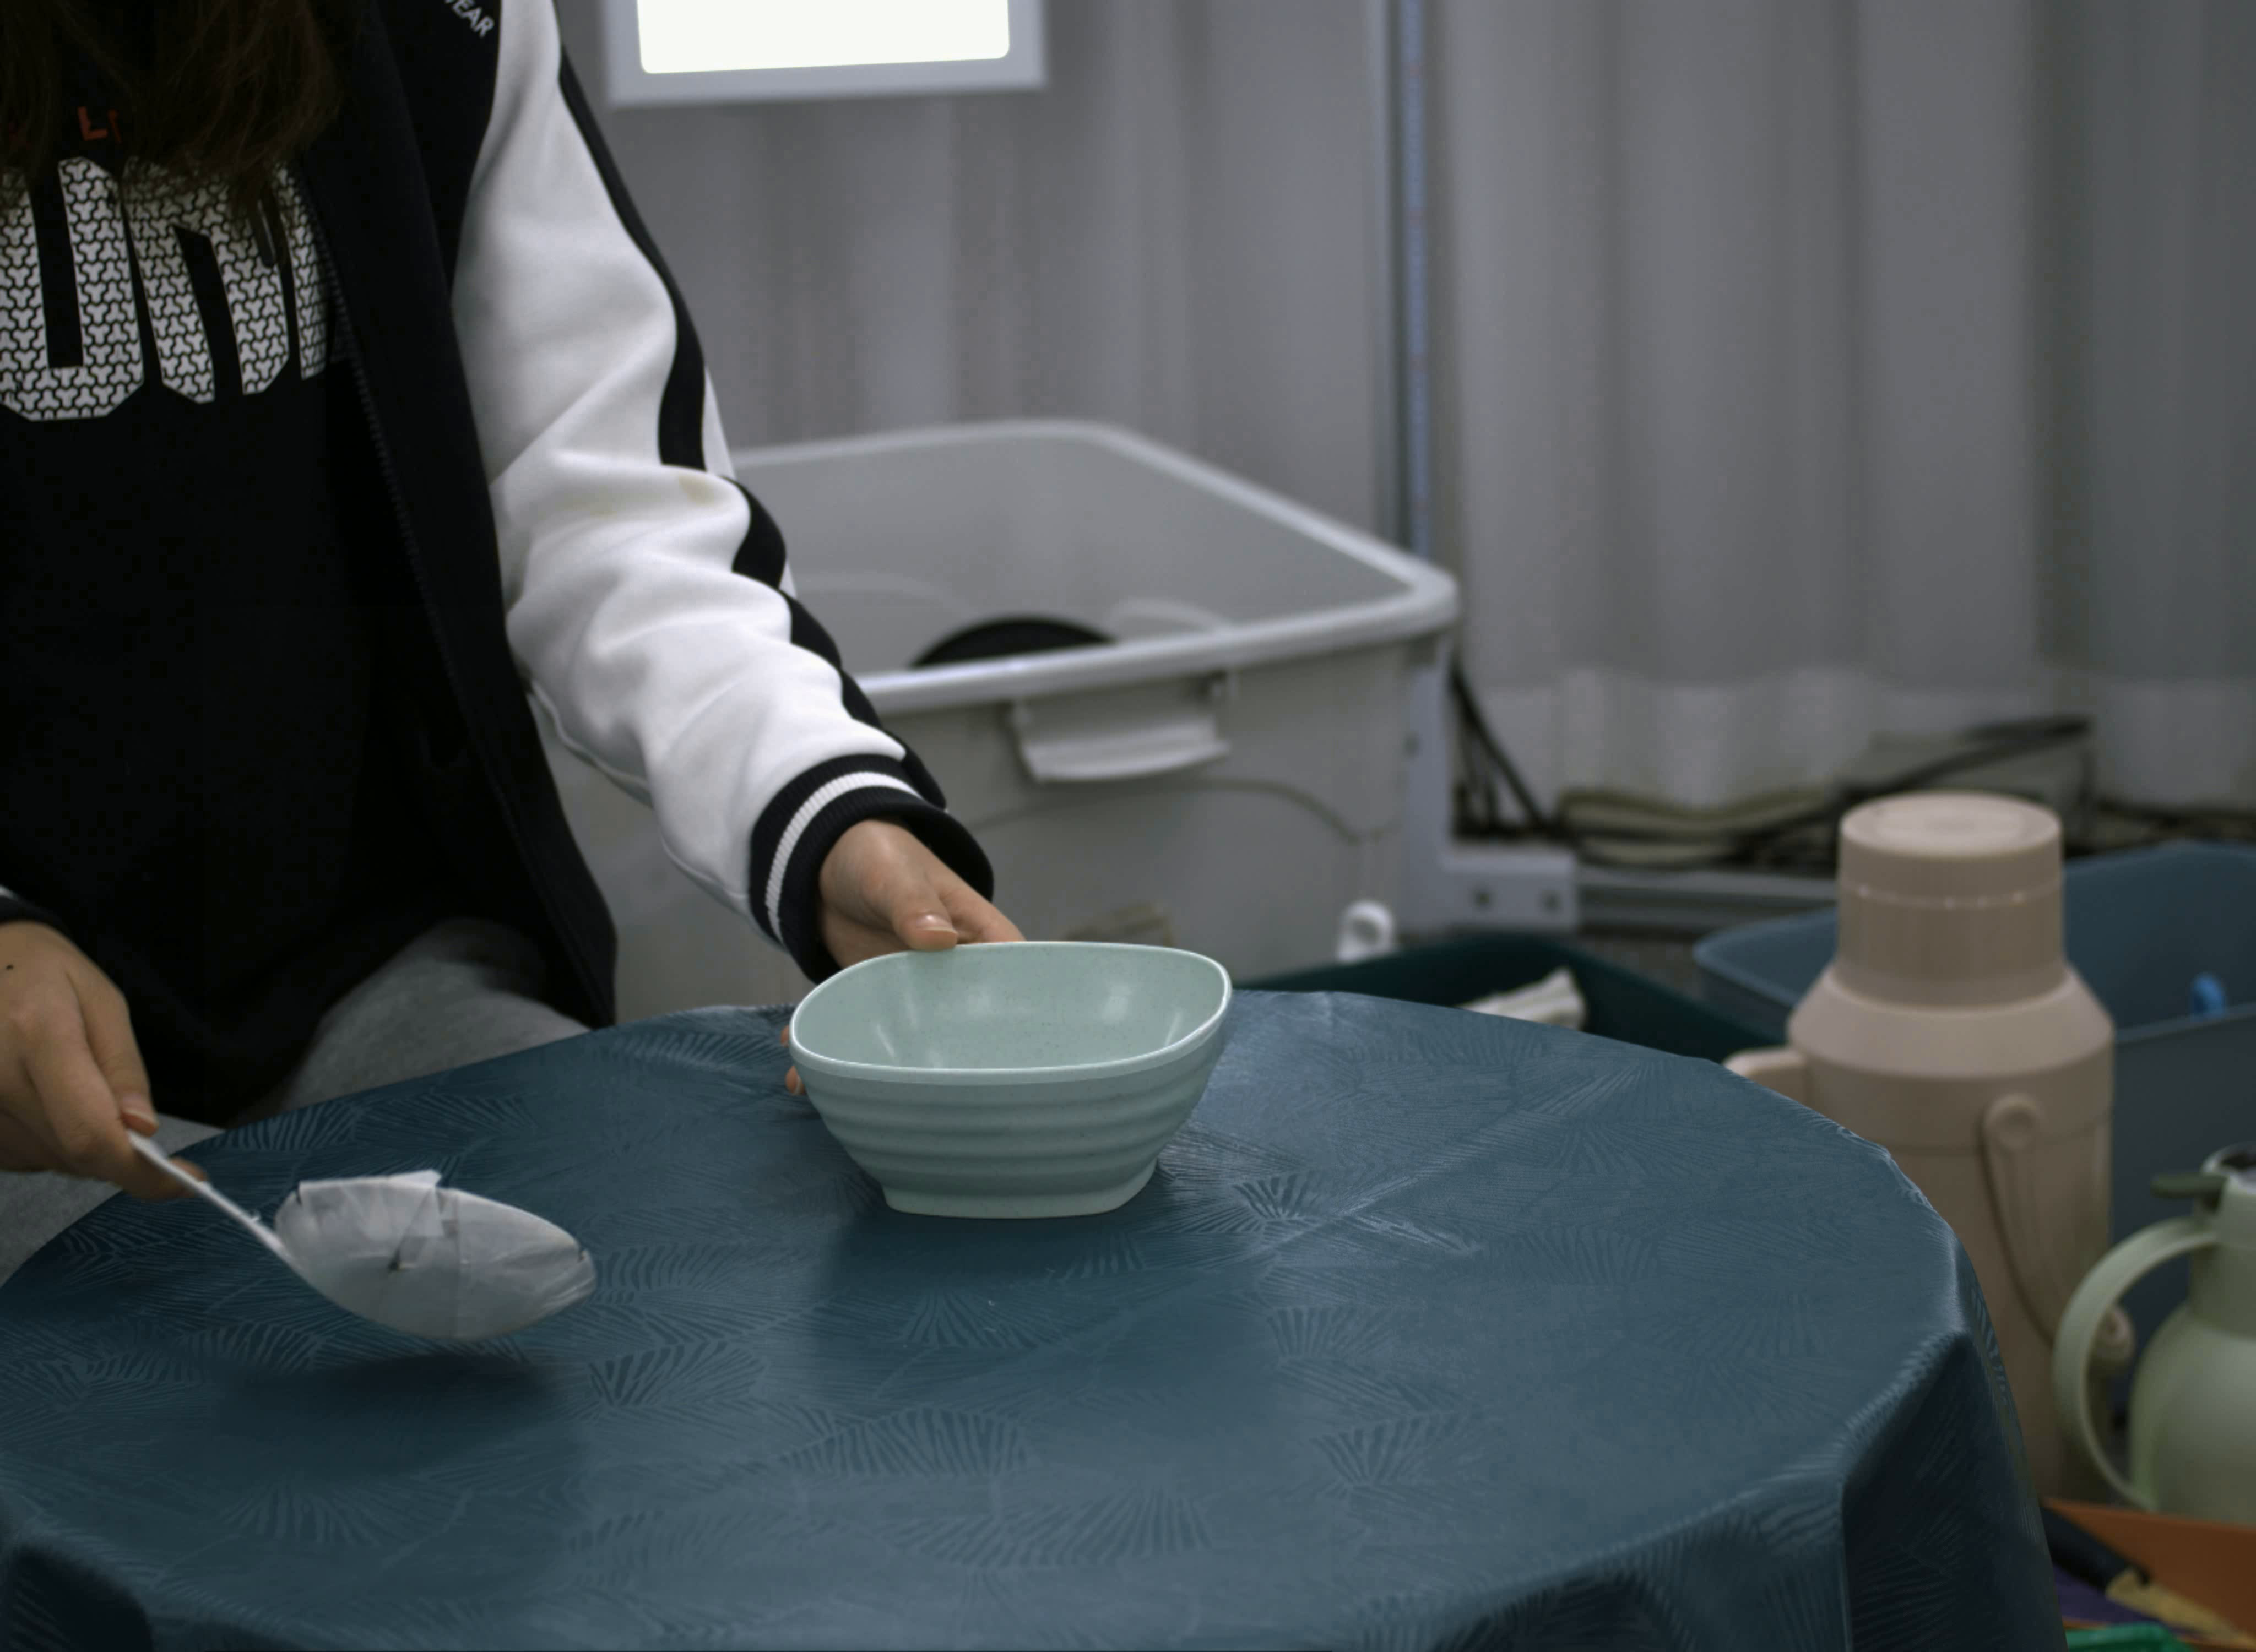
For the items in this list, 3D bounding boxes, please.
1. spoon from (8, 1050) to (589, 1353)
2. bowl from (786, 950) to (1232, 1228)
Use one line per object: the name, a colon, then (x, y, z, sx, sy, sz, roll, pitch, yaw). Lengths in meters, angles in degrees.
spoon: (-0.255, 0.097, 1.641, 0.059, 0.099, 0.280, -49, 37, -12)
bowl: (-0.036, 0.086, 1.728, 0.151, 0.058, 0.152, -3, 14, 0)
